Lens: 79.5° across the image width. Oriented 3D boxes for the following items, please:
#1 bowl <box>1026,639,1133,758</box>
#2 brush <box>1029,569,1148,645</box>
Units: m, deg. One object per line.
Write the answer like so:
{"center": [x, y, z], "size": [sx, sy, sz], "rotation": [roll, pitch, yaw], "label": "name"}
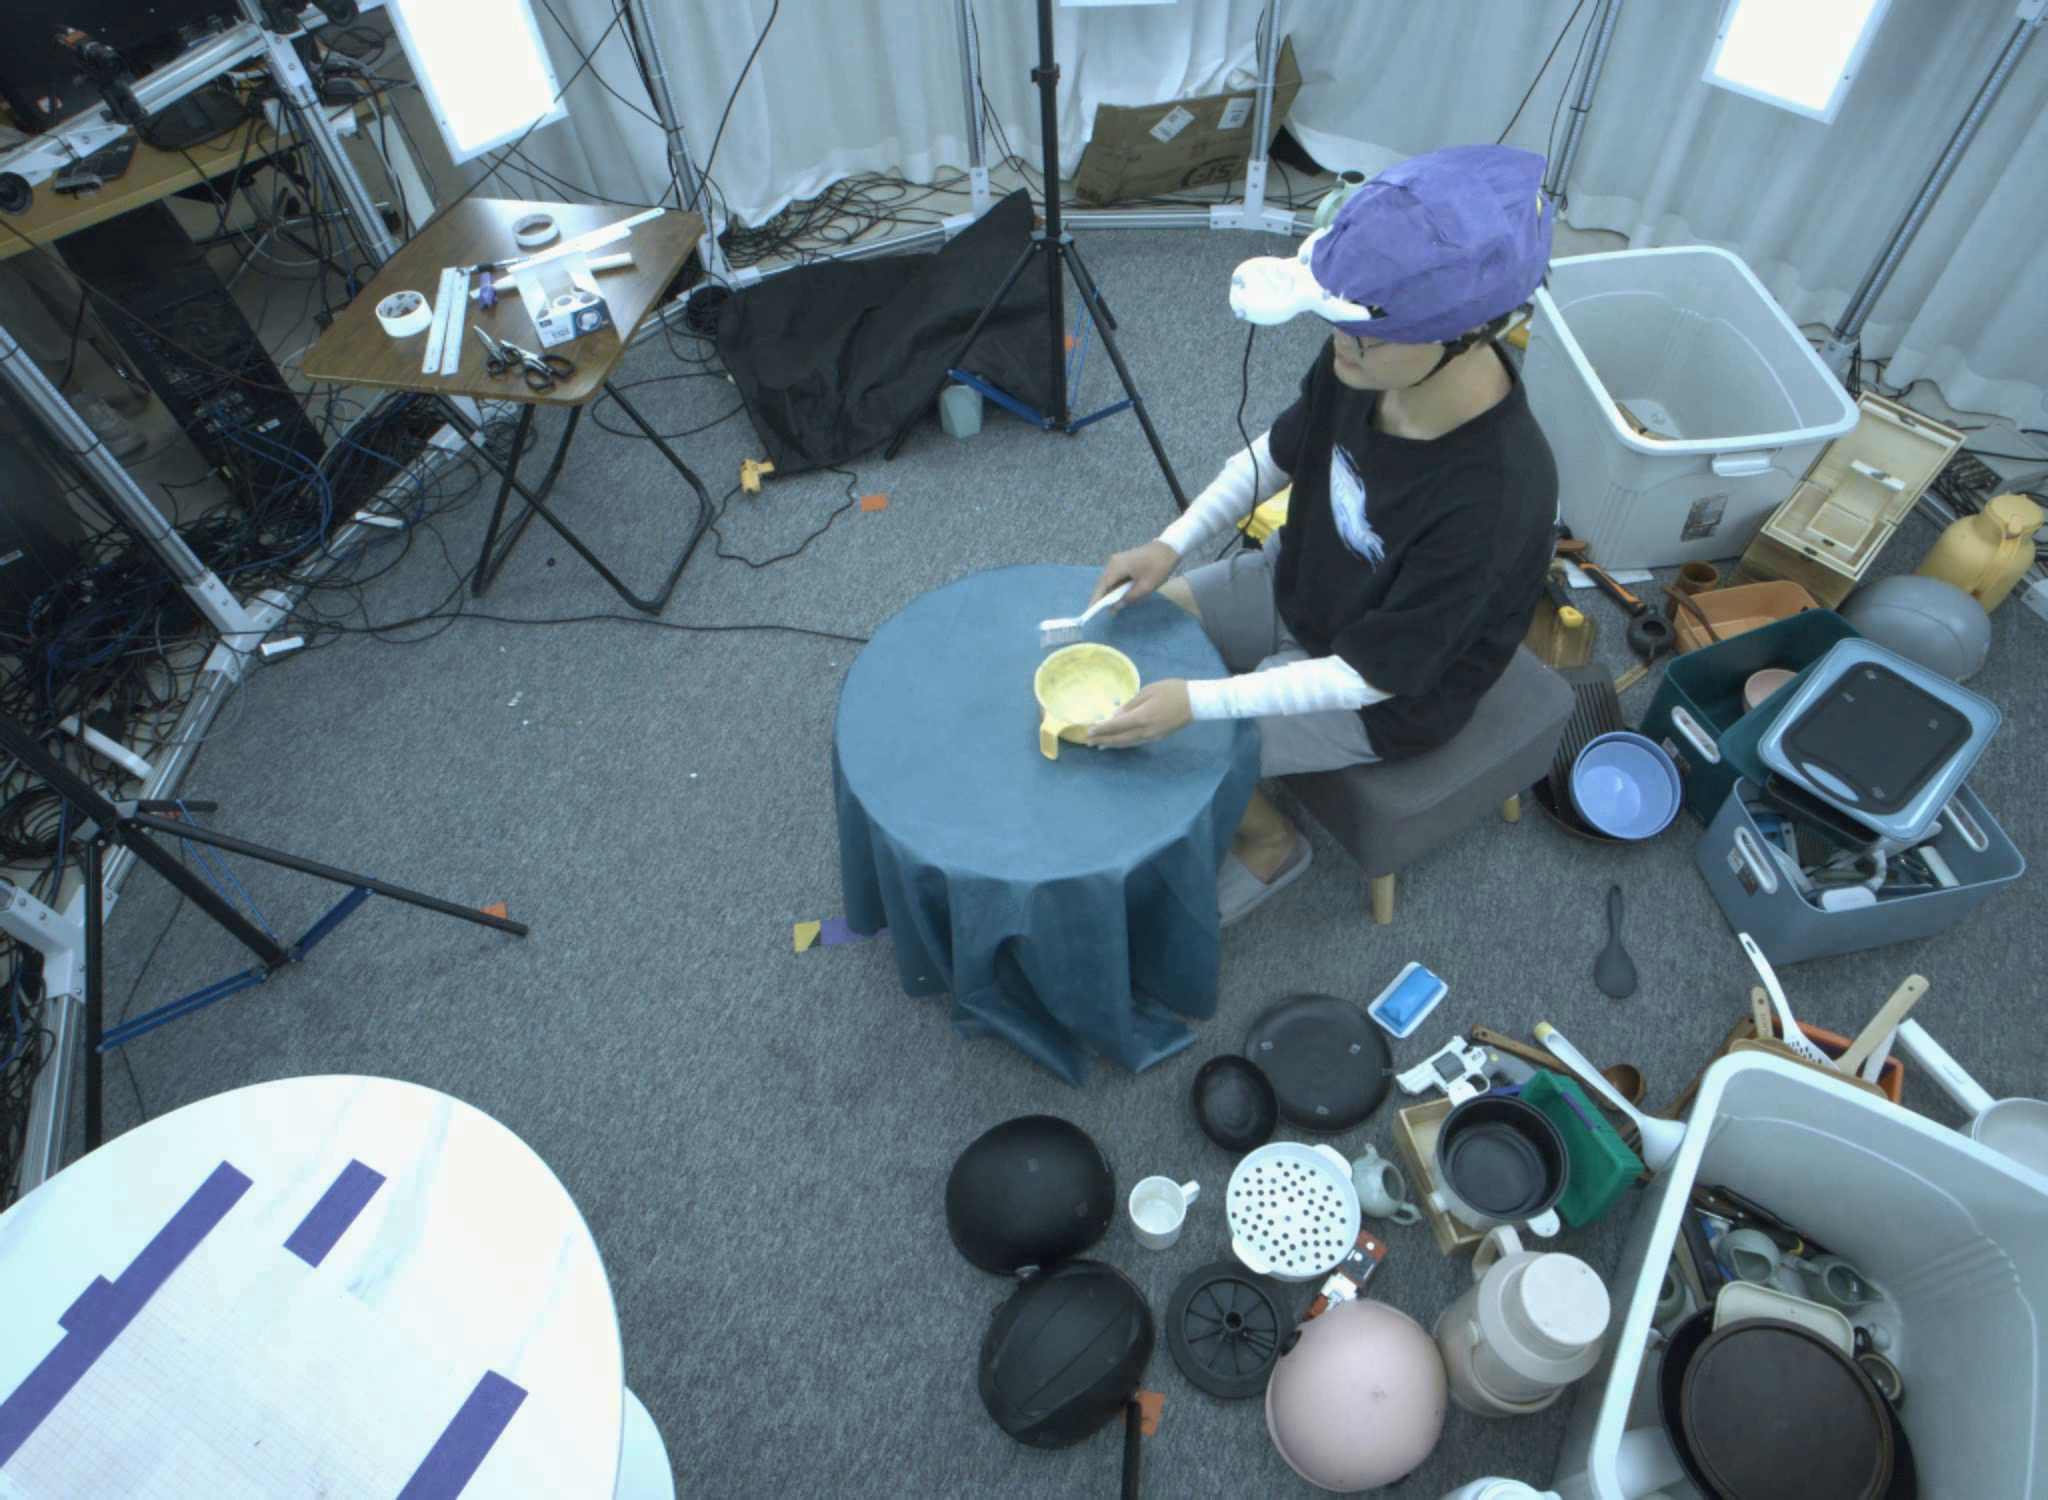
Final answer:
{"center": [0.072, -0.073, 1.785], "size": [0.151, 0.075, 0.180], "rotation": [28, 61, 15], "label": "bowl"}
{"center": [0.106, -0.215, 1.871], "size": [0.246, 0.034, 0.050], "rotation": [-28, 87, -30], "label": "brush"}
